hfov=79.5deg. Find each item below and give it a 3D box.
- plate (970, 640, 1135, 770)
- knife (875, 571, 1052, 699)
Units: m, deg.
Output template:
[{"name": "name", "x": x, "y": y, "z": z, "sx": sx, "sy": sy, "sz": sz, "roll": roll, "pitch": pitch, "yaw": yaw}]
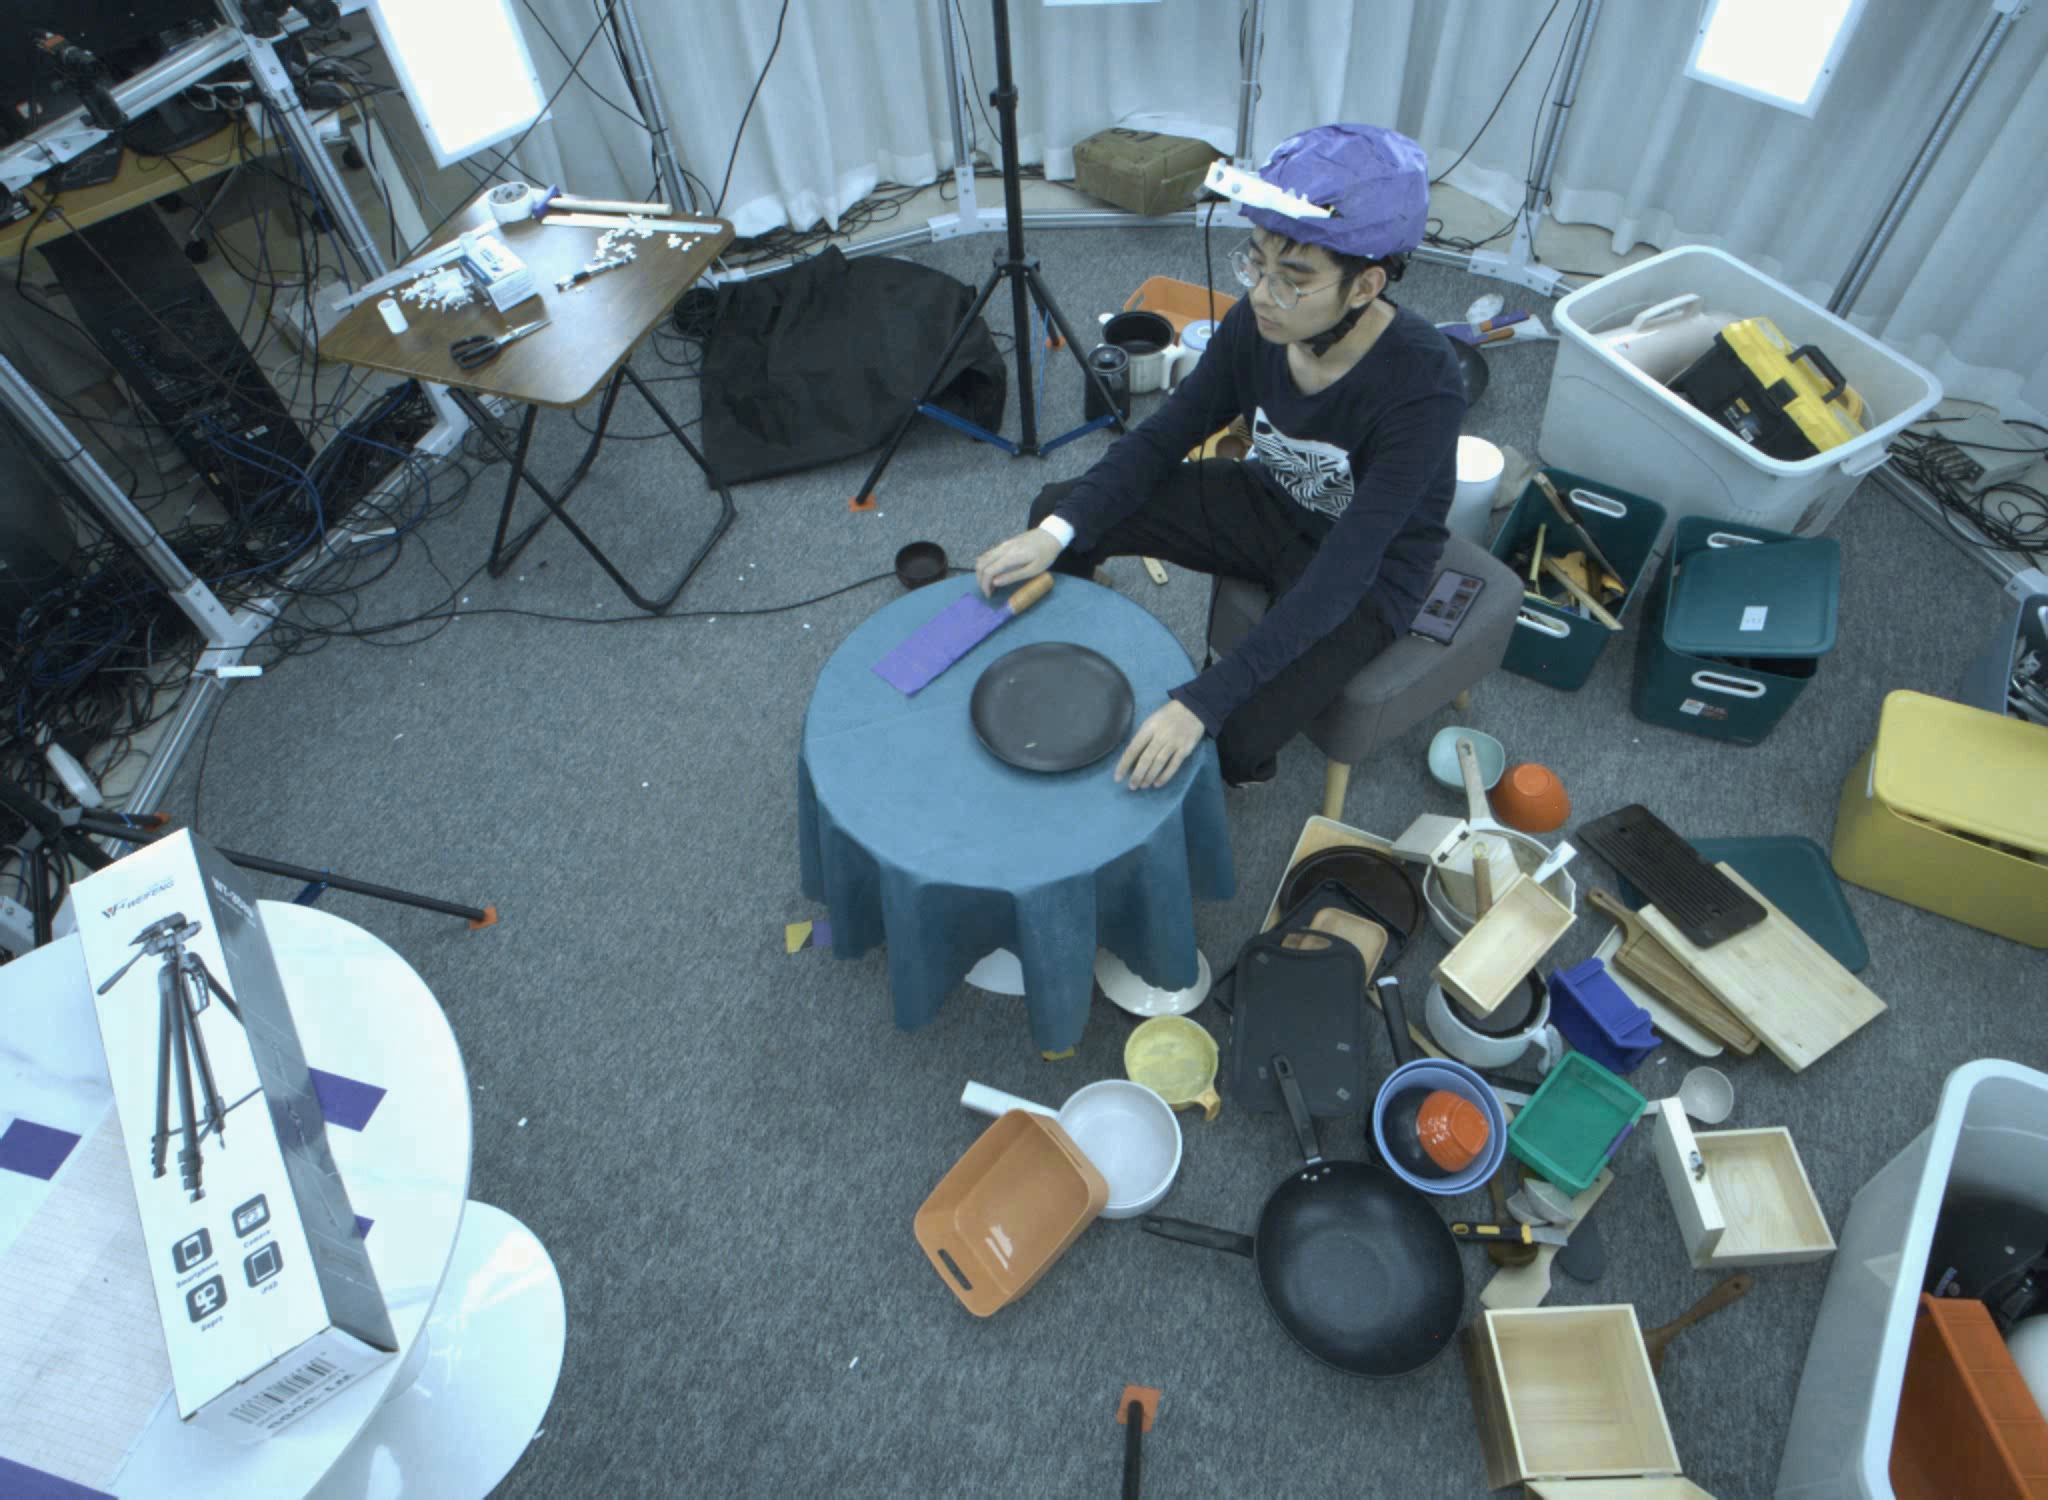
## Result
[{"name": "plate", "x": 0.042, "y": -0.065, "z": 1.826, "sx": 0.244, "sy": 0.023, "sz": 0.242, "roll": 0, "pitch": 55, "yaw": 1}, {"name": "knife", "x": -0.096, "y": -0.199, "z": 1.923, "sx": 0.102, "sy": 0.032, "sz": 0.317, "roll": 38, "pitch": 64, "yaw": 25}]
